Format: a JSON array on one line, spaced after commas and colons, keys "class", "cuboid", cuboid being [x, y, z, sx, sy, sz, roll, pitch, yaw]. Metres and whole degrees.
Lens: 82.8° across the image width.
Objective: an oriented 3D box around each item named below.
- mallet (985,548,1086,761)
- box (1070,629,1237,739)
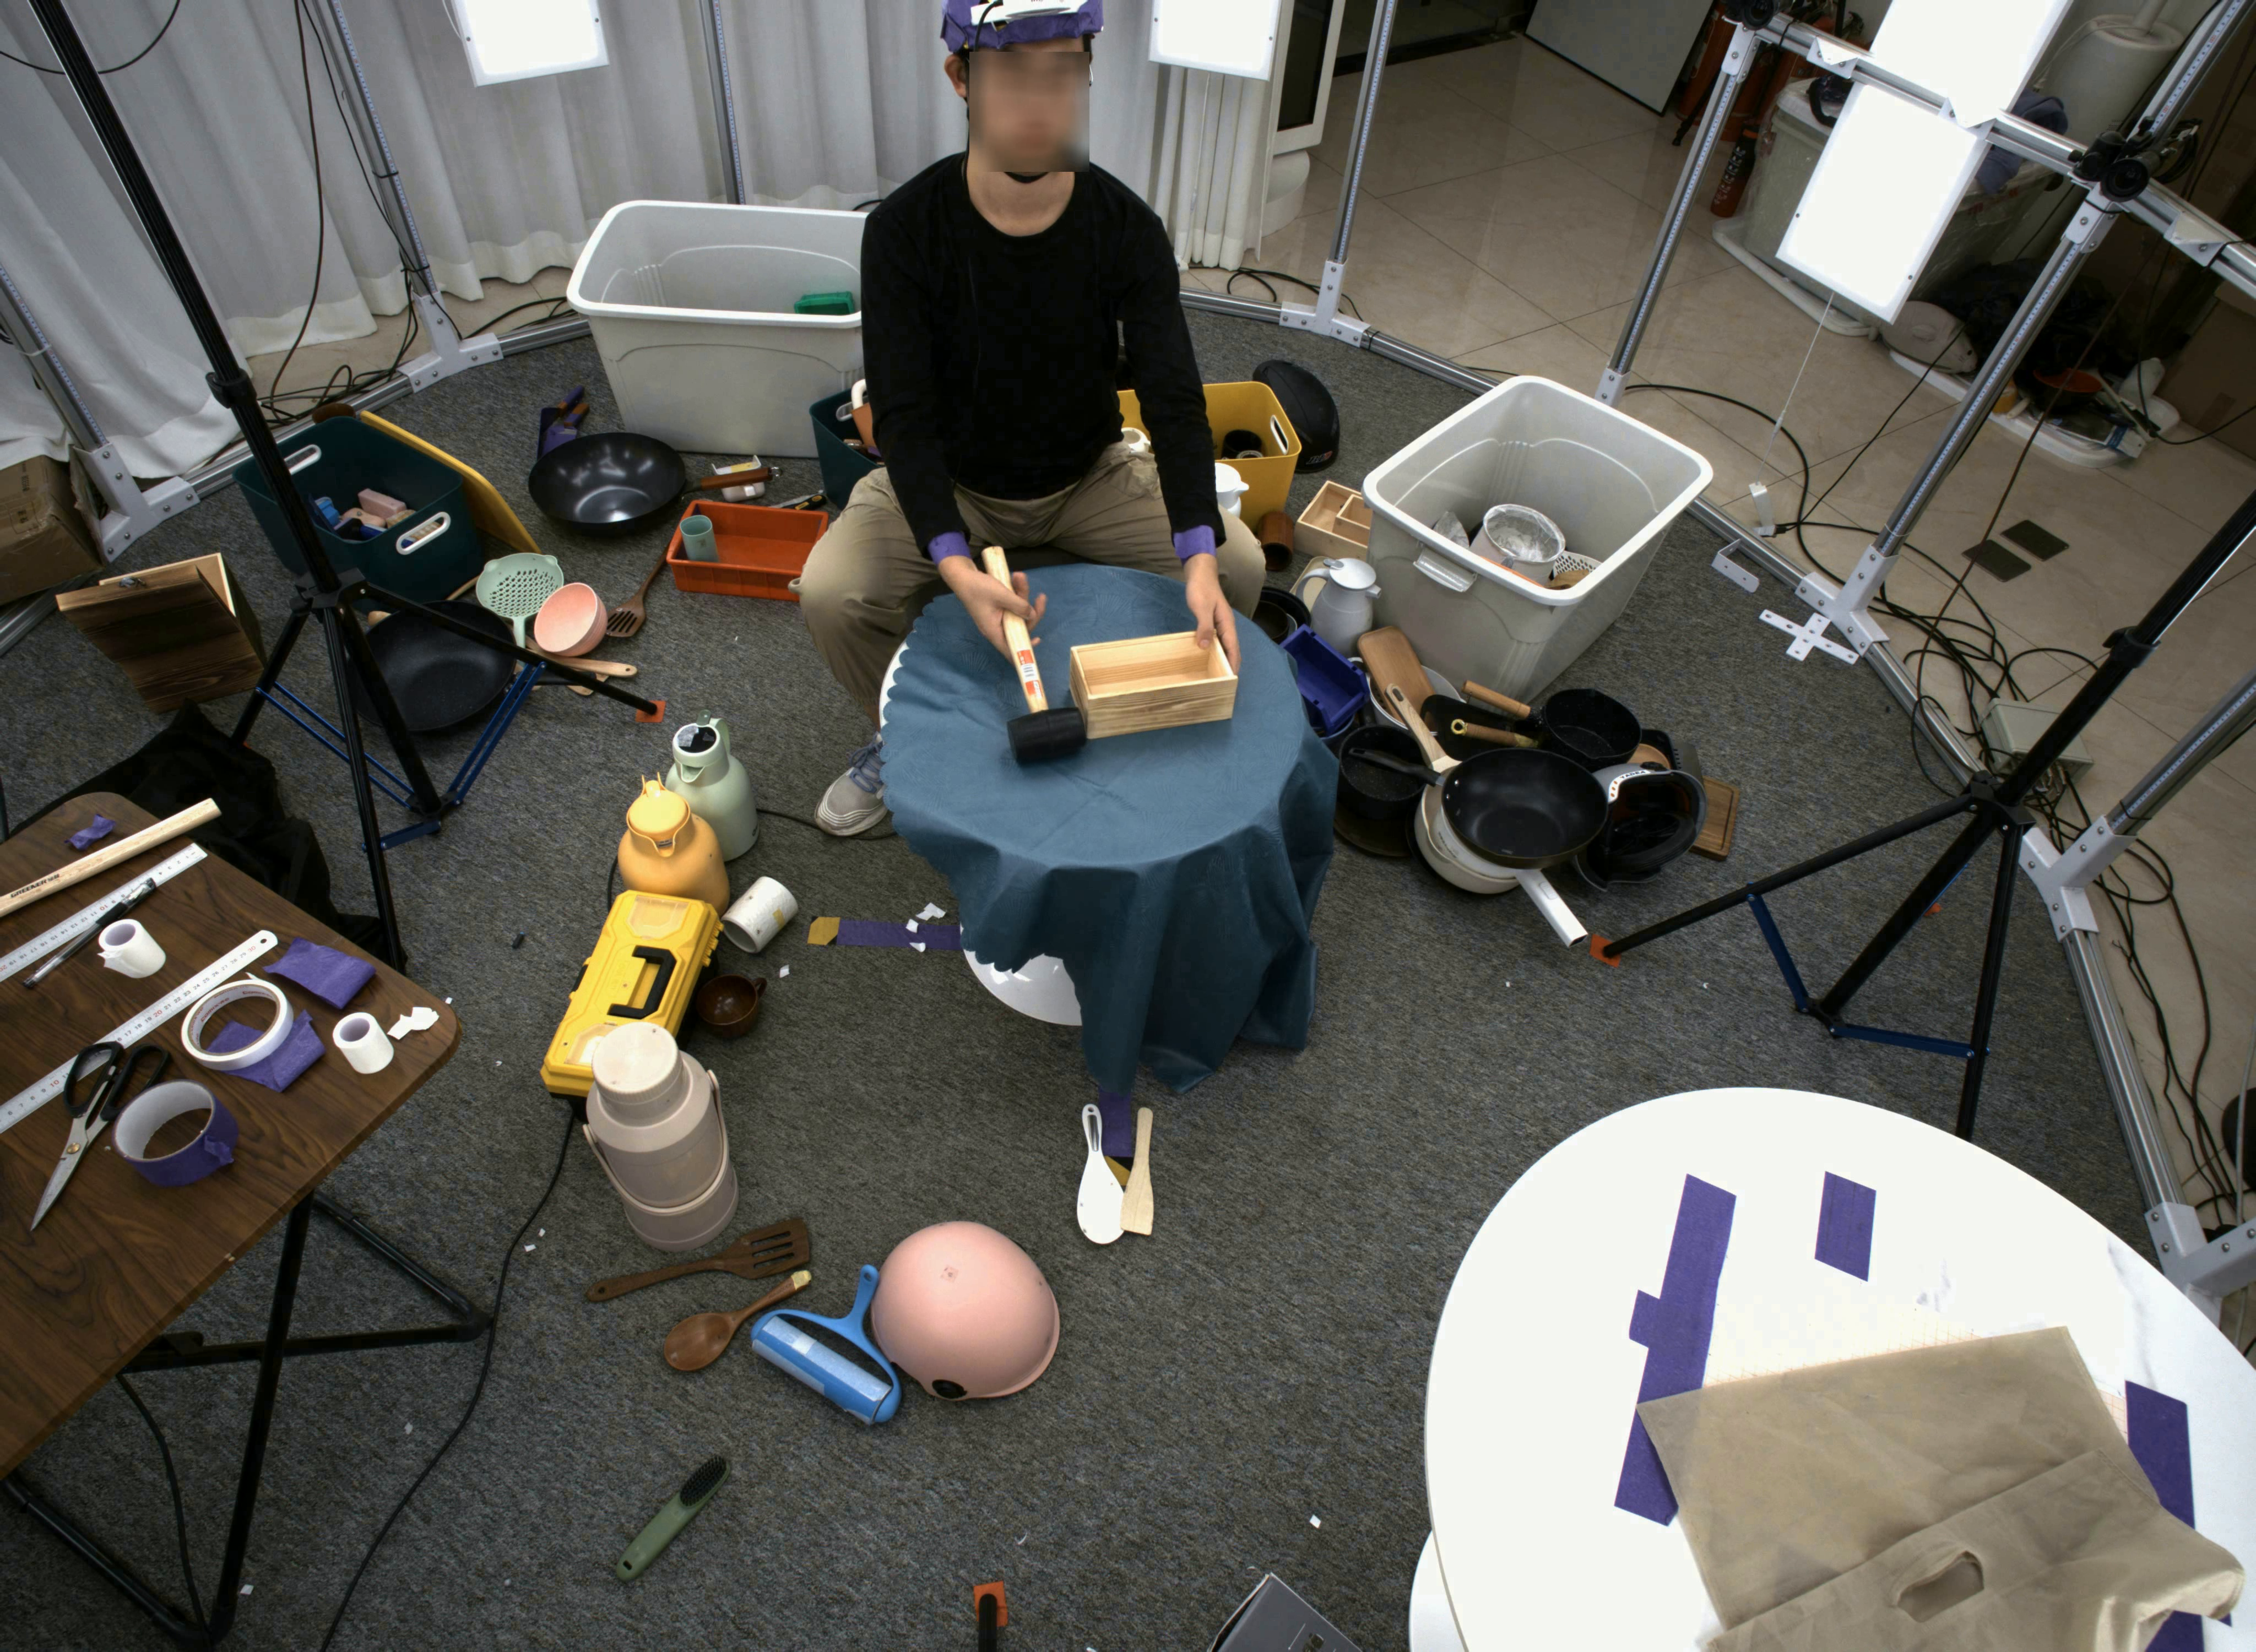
[{"class": "mallet", "cuboid": [-0.147, -0.248, 1.782, 0.102, 0.063, 0.345, -10, 67, -13]}, {"class": "box", "cuboid": [0.033, -0.200, 1.793, 0.211, 0.078, 0.110, -9, 50, -11]}]
